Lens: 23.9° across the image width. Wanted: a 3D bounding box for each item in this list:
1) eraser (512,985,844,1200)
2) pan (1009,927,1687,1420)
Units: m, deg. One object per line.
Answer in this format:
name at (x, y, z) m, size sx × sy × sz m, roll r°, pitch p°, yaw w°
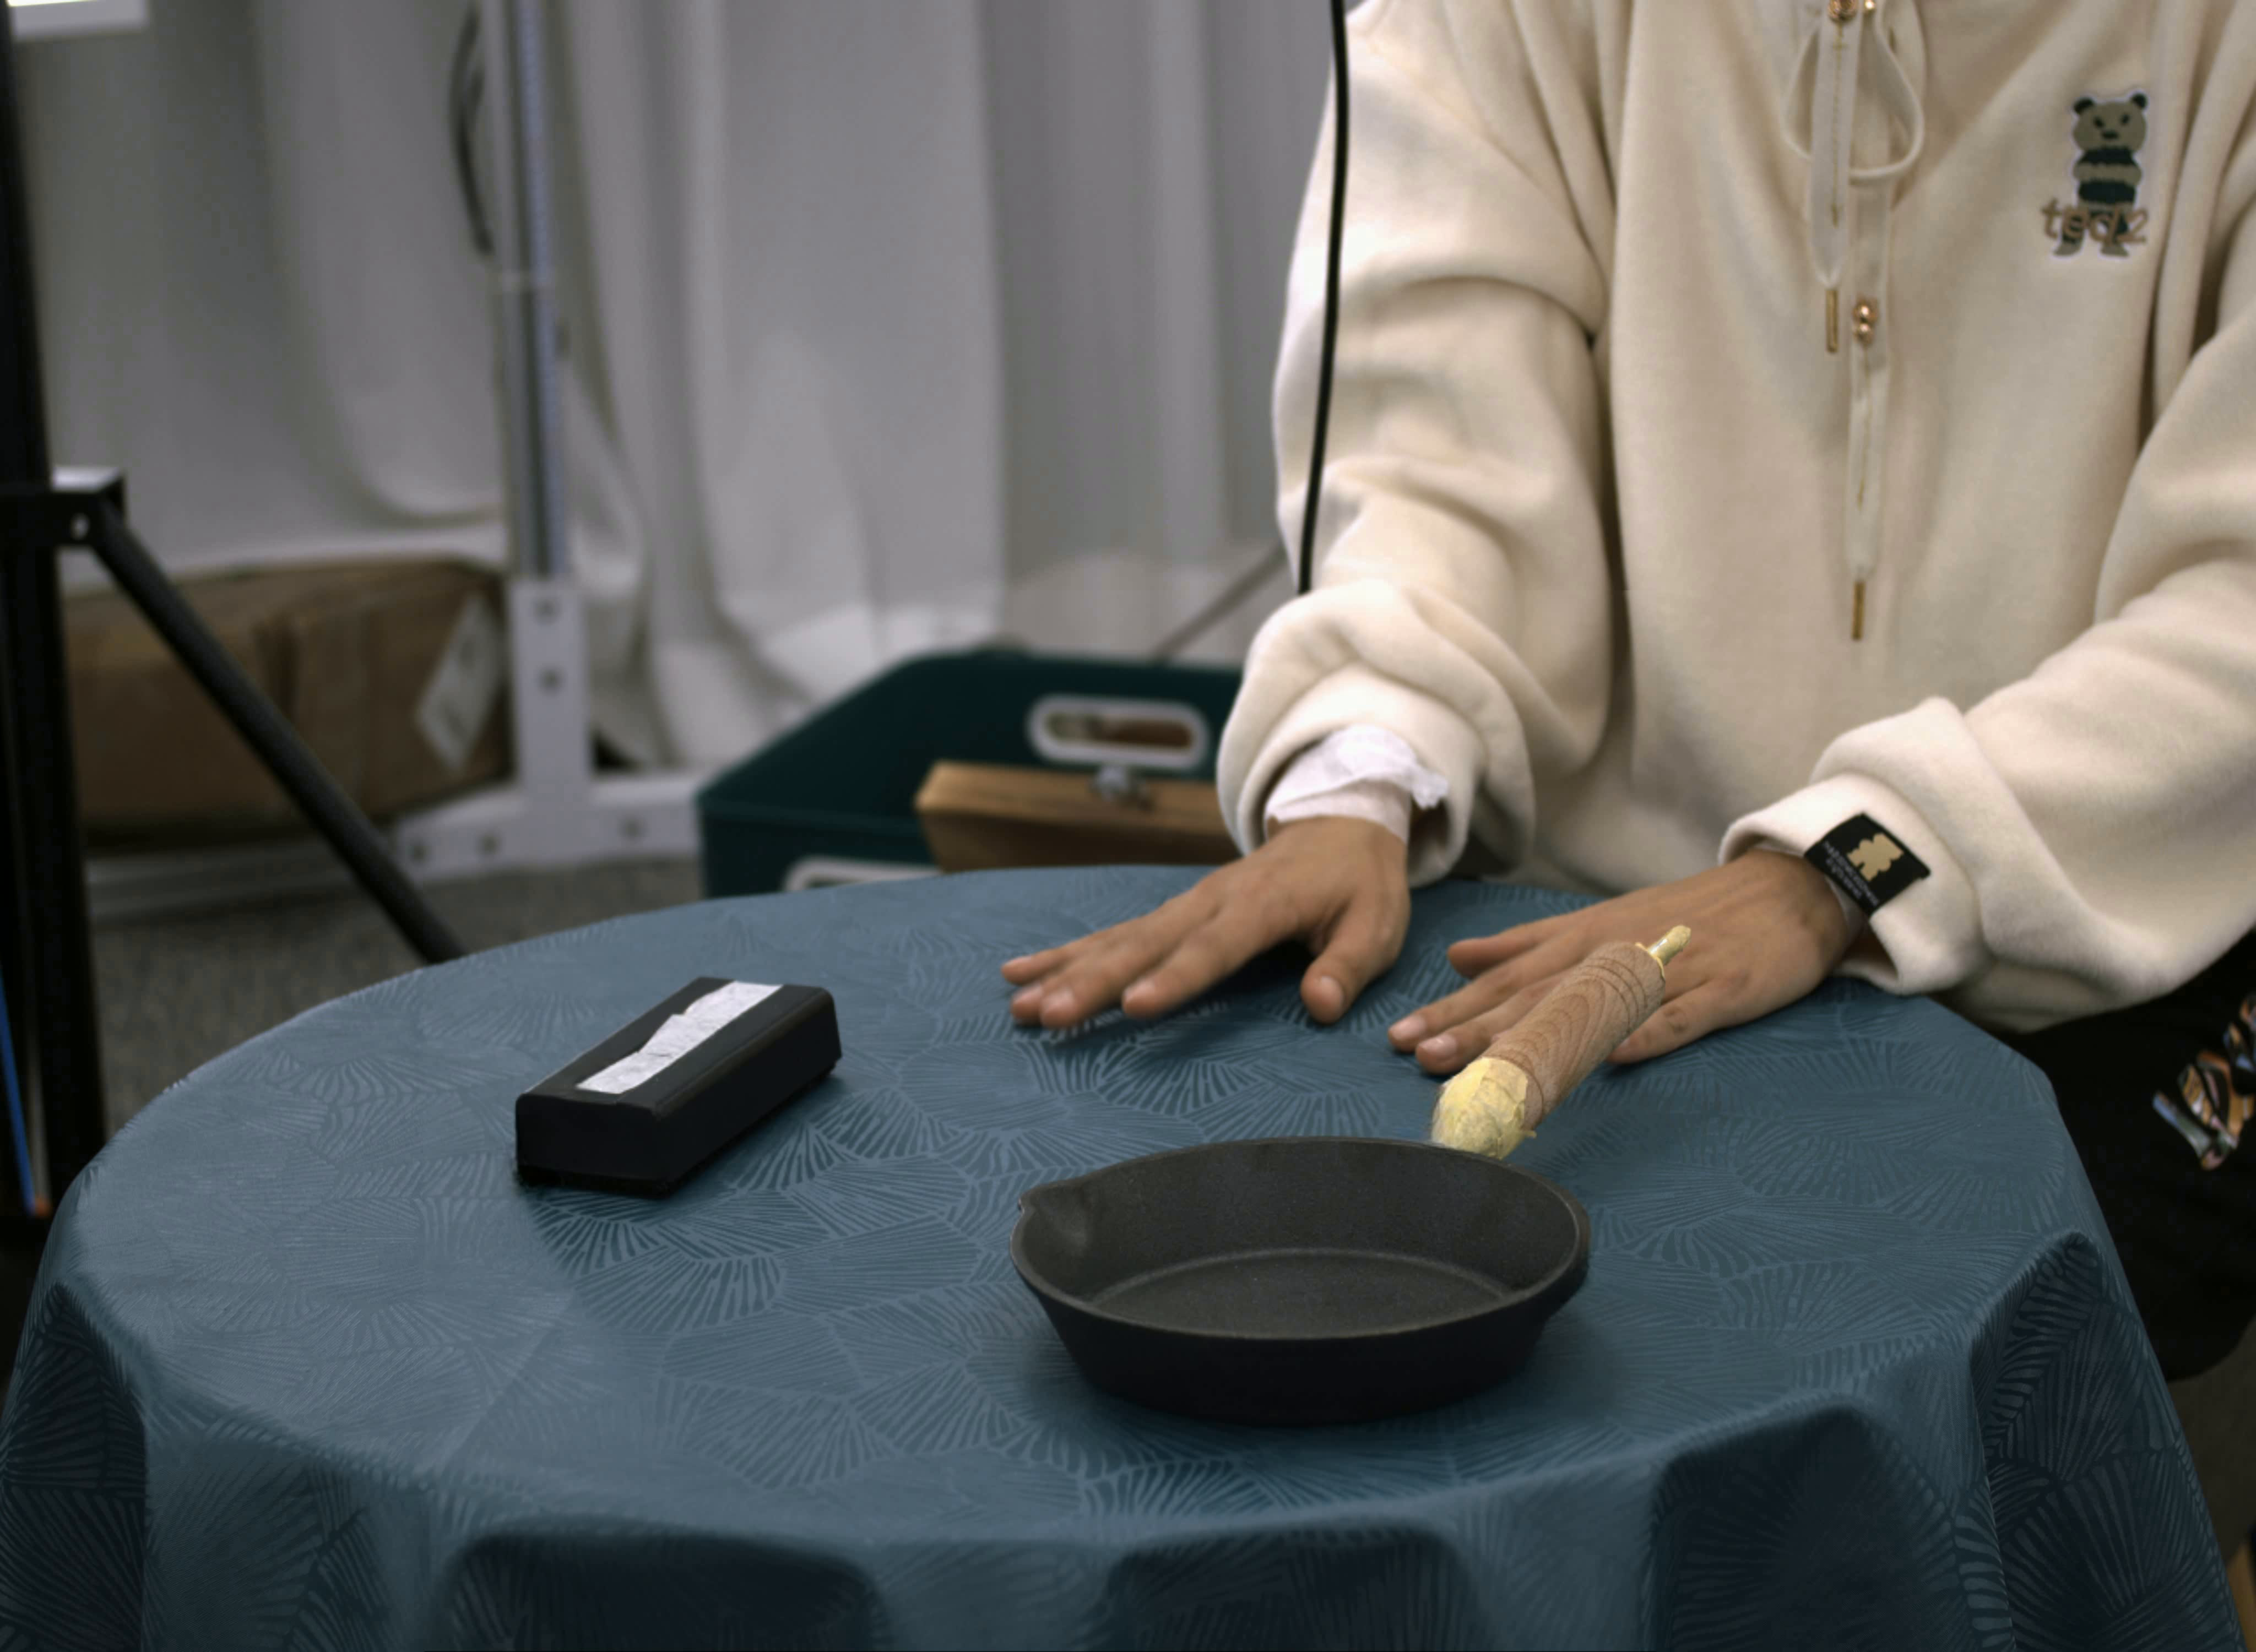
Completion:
eraser at (-0.136, 0.080, 1.628) m, size 0.054 × 0.030 × 0.124 m, roll 5°, pitch 16°, yaw 22°
pan at (0.089, 0.094, 1.496) m, size 0.172 × 0.049 × 0.318 m, roll 6°, pitch 19°, yaw 31°
